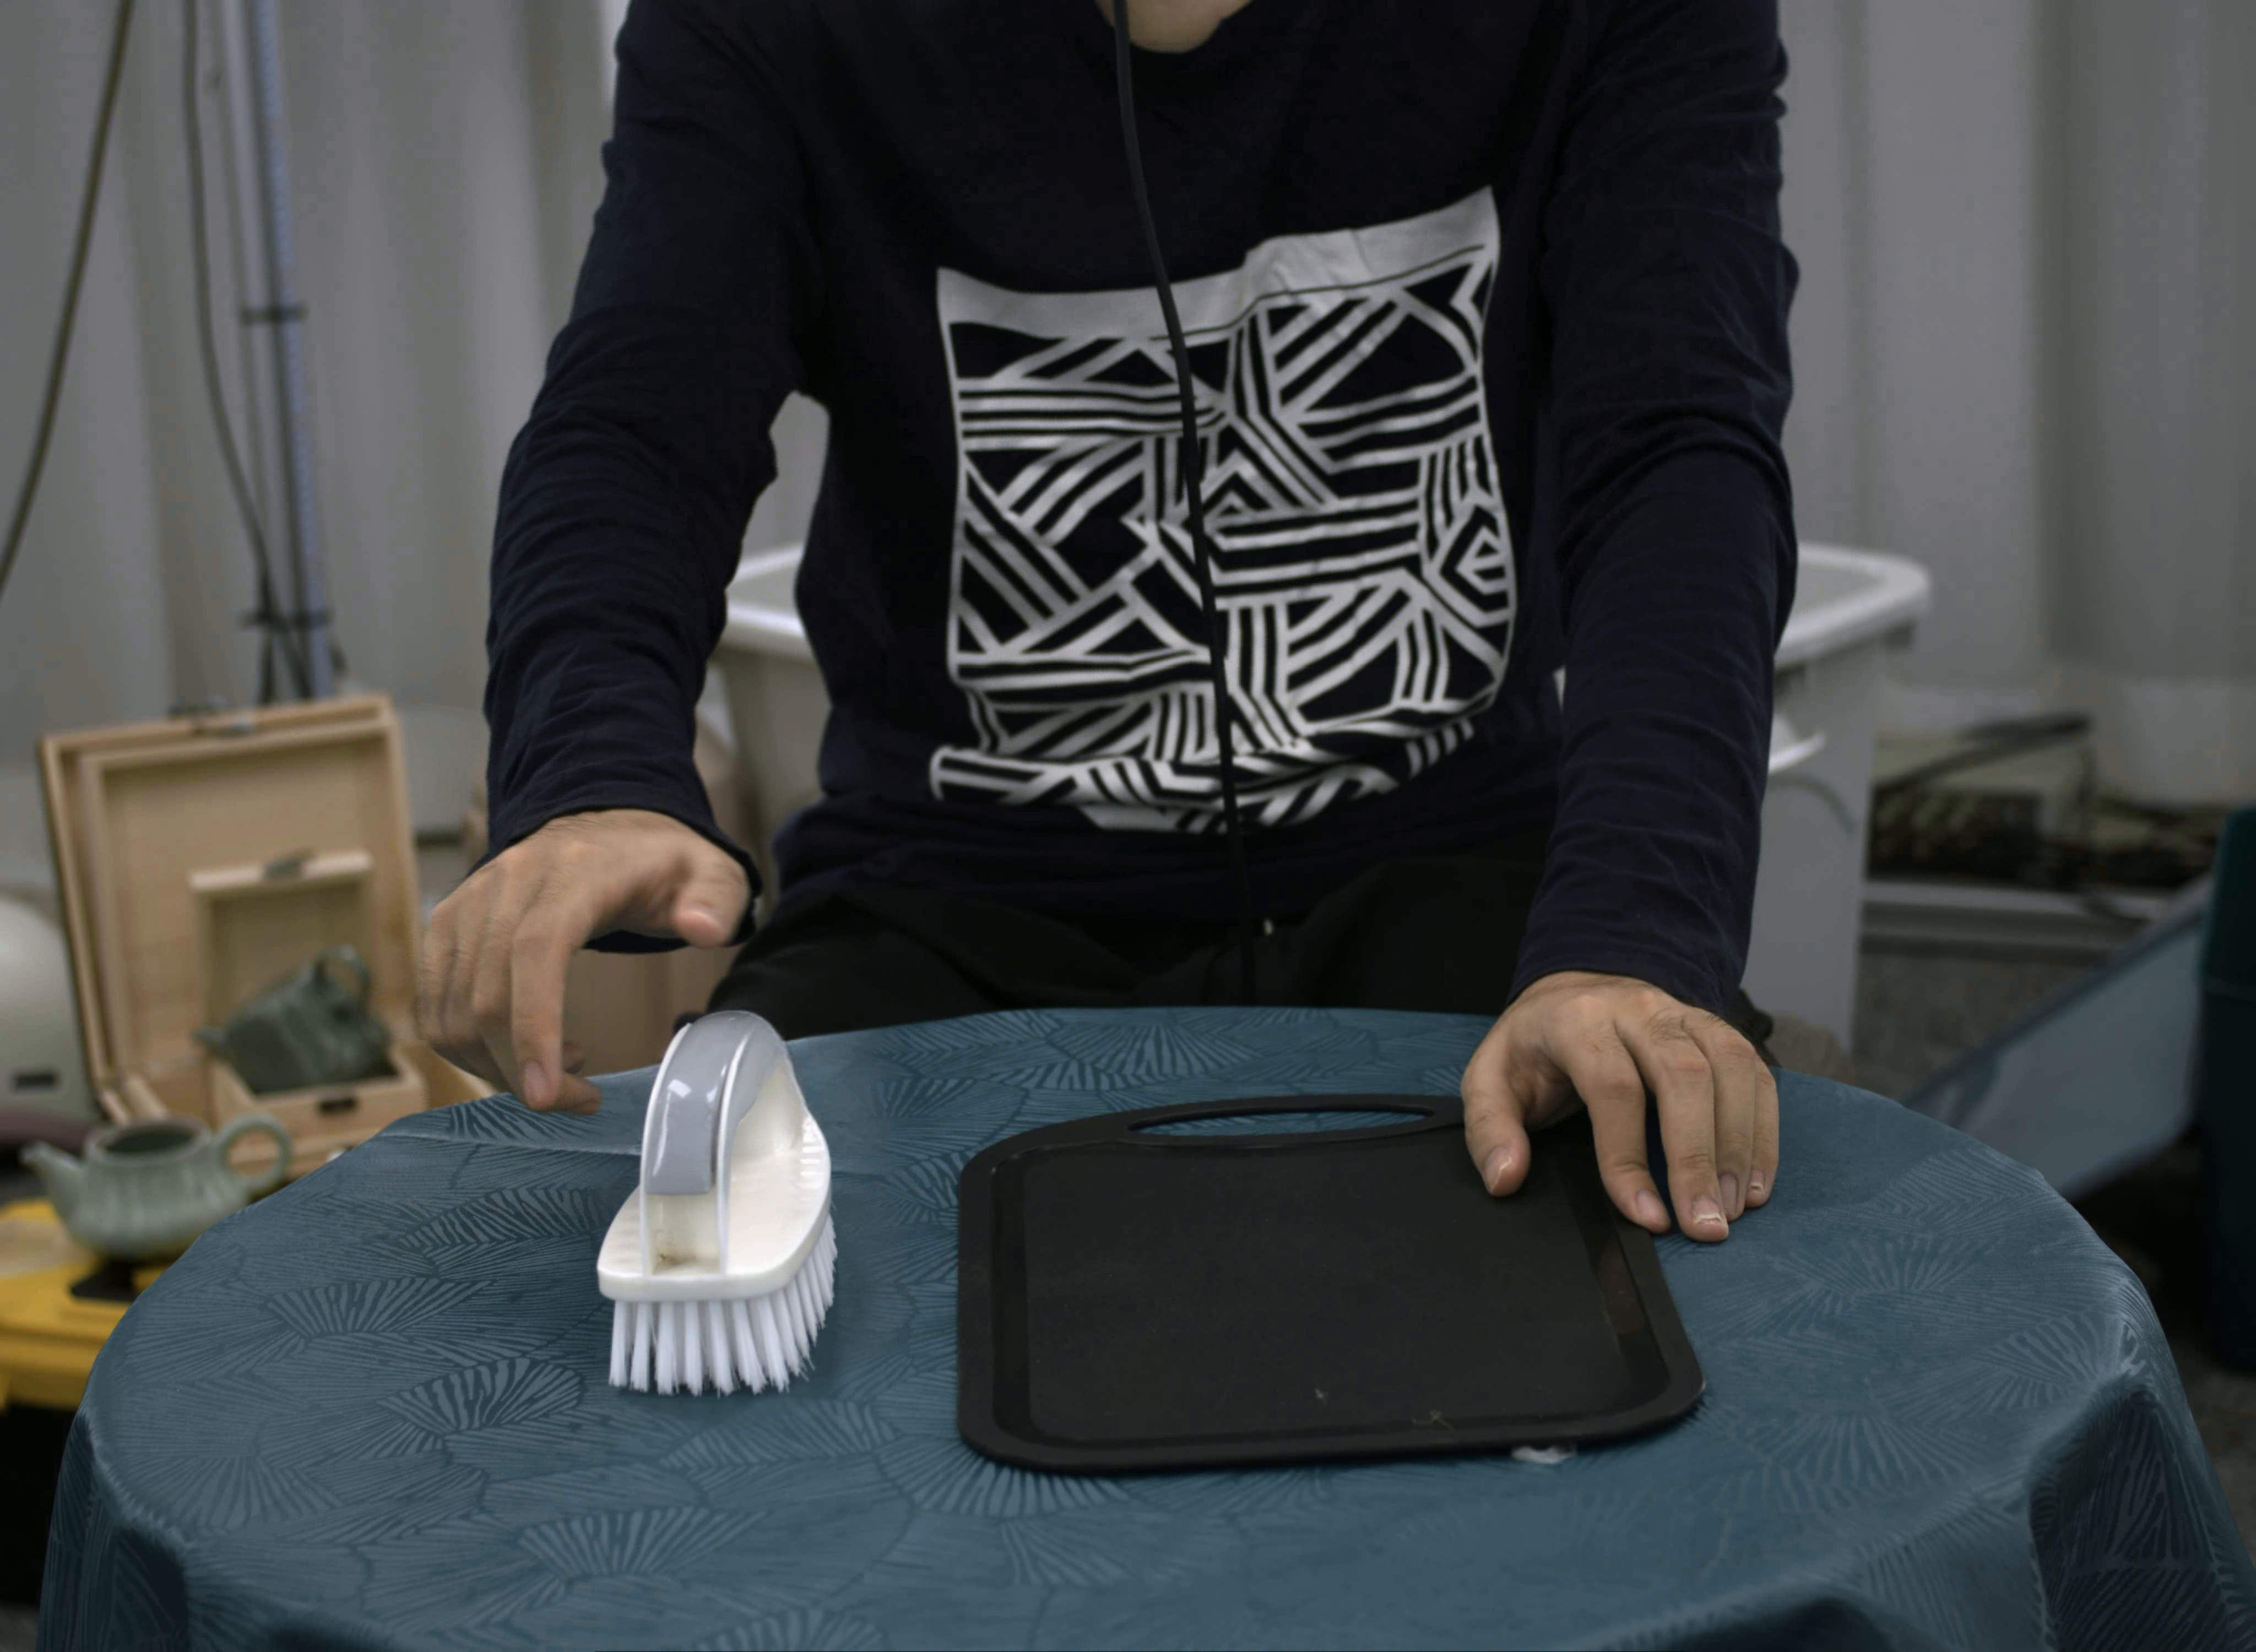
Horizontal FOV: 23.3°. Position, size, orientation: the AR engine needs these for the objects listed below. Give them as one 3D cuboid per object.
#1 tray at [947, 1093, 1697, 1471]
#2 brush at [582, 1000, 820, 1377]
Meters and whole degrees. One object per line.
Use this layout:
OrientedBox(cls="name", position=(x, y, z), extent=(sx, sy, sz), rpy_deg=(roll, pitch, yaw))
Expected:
OrientedBox(cls="tray", position=(0.052, 0.129, 1.636), extent=(0.210, 0.010, 0.327), rpy_deg=(-3, 15, 0))
OrientedBox(cls="brush", position=(-0.120, 0.097, 1.628), extent=(0.061, 0.094, 0.176), rpy_deg=(2, 13, 6))
